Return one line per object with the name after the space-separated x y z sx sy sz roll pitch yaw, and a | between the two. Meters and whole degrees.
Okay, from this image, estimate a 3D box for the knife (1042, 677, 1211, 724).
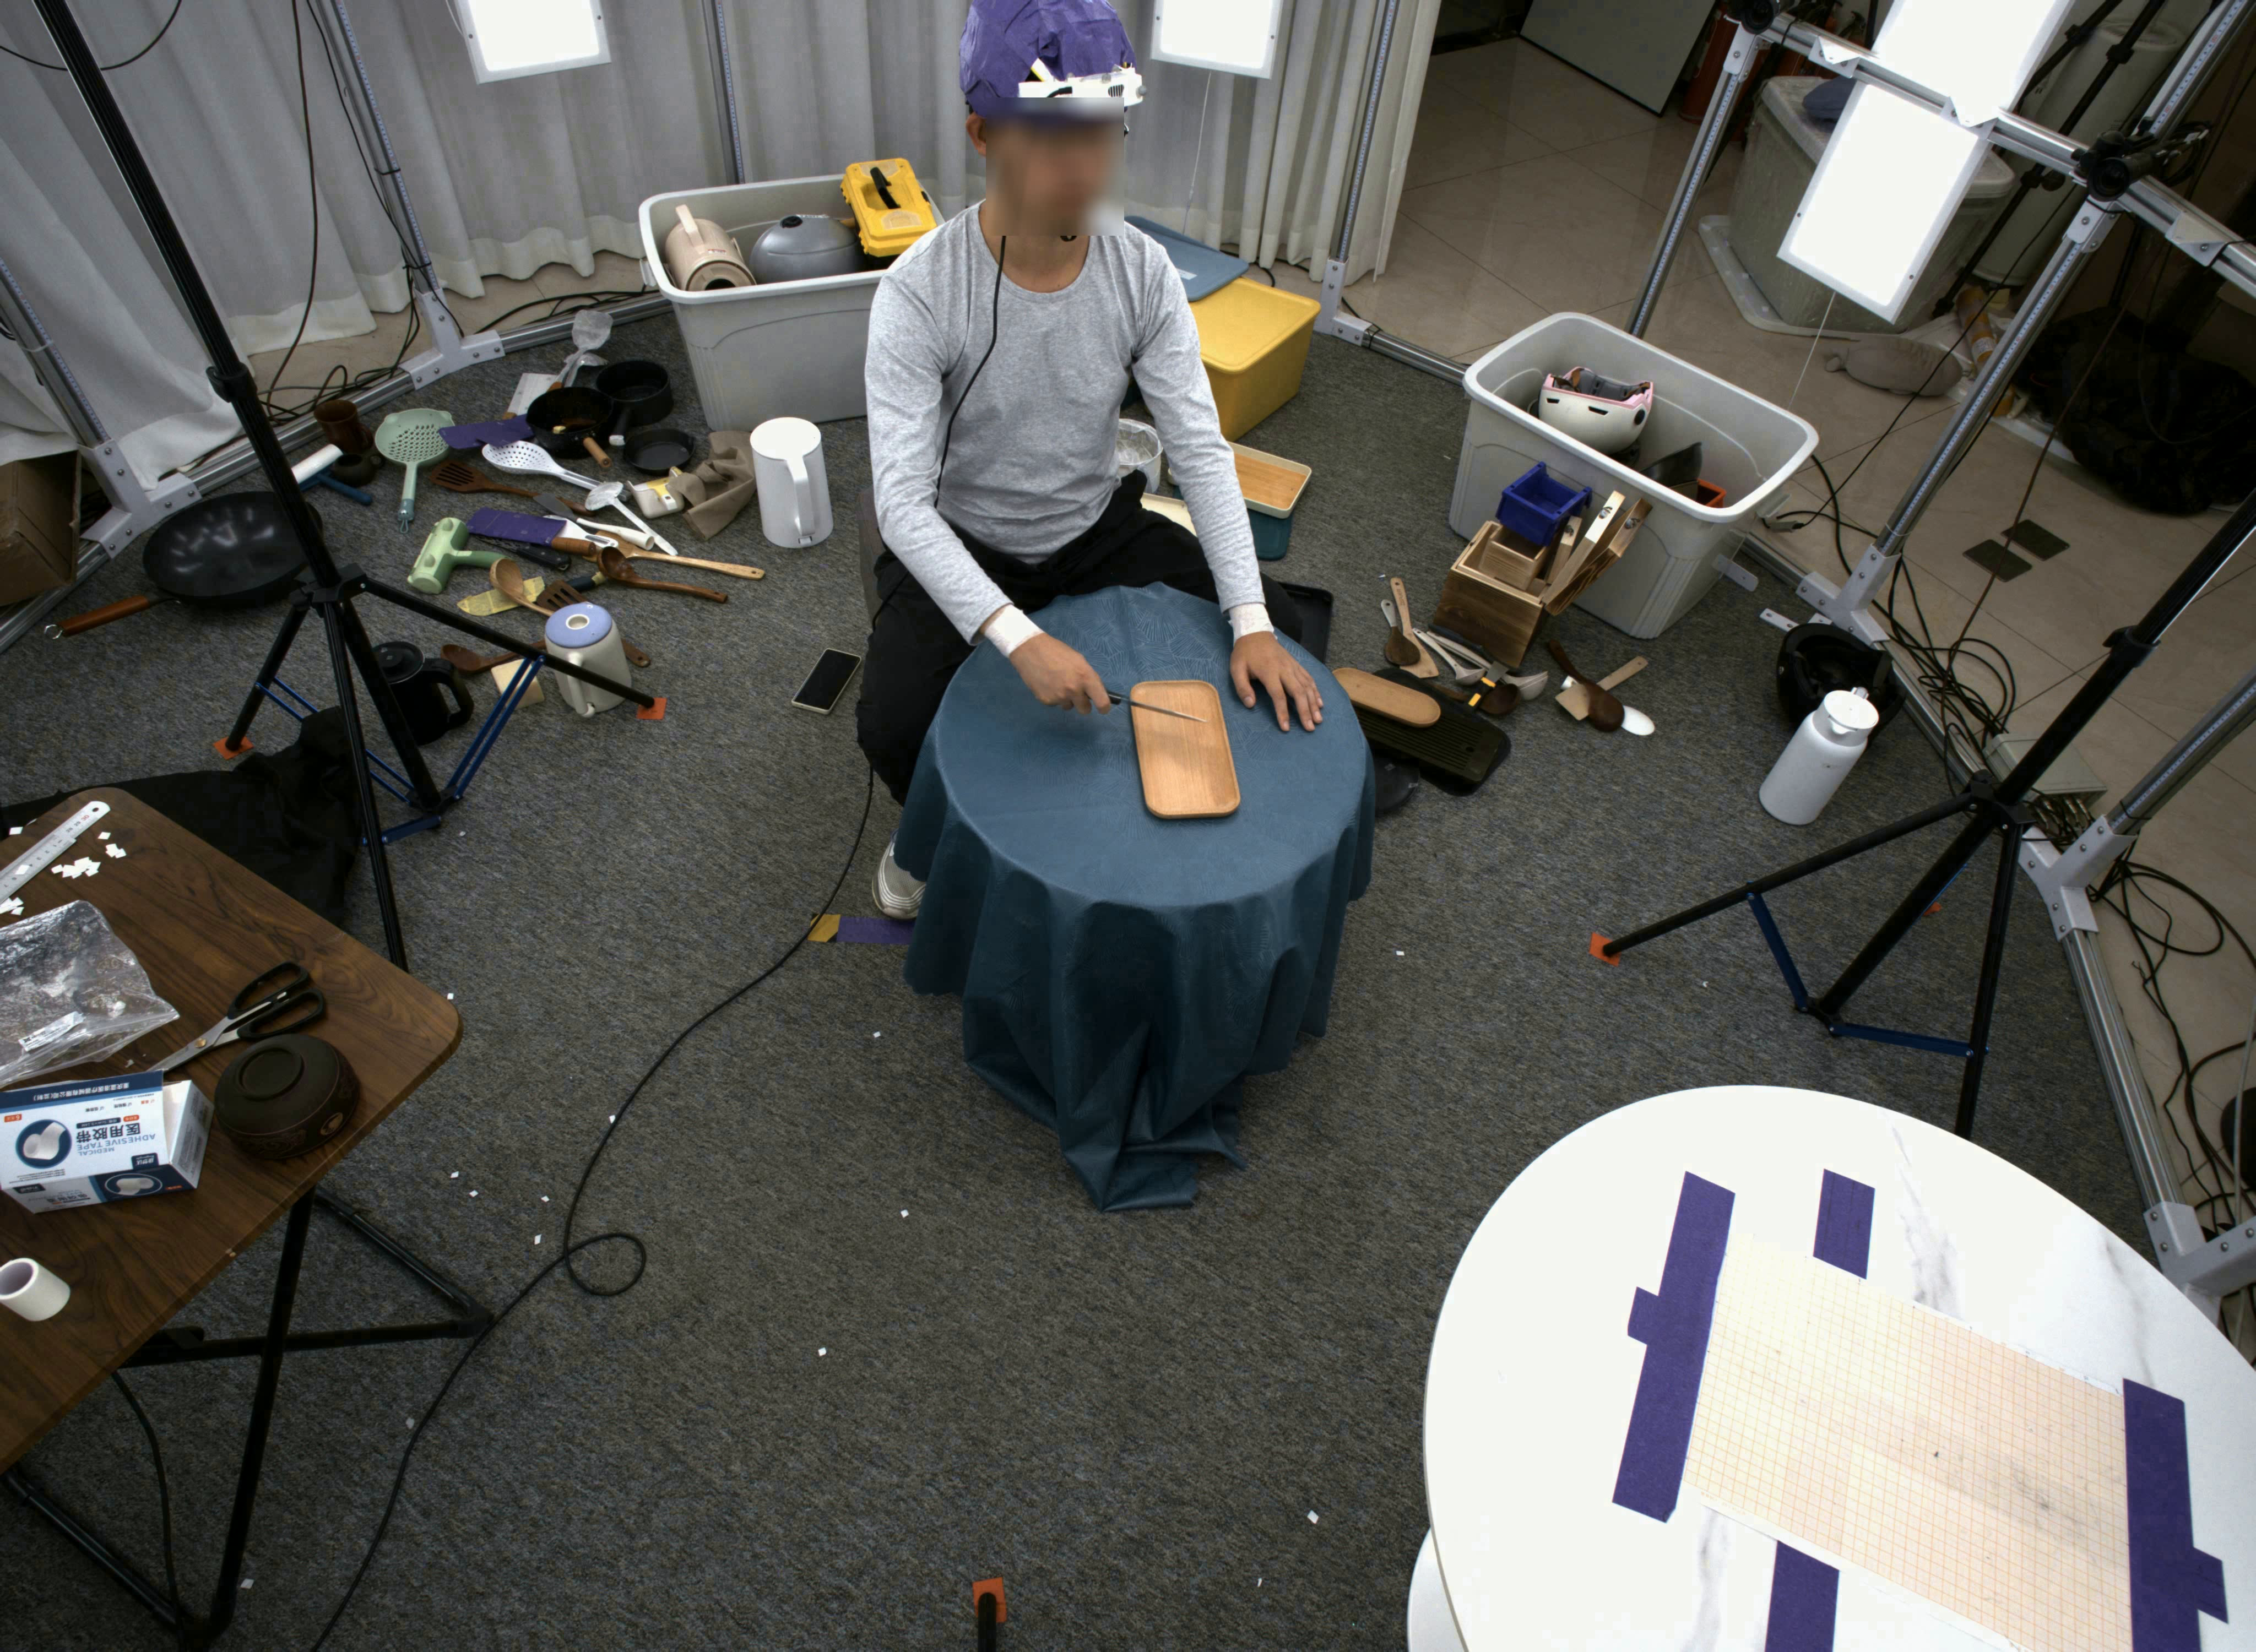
-0.002 -0.169 1.744 0.238 0.024 0.016 14 81 1 | knife

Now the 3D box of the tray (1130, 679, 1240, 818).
0.075 -0.109 1.756 0.130 0.022 0.257 0 48 -7 | tray
